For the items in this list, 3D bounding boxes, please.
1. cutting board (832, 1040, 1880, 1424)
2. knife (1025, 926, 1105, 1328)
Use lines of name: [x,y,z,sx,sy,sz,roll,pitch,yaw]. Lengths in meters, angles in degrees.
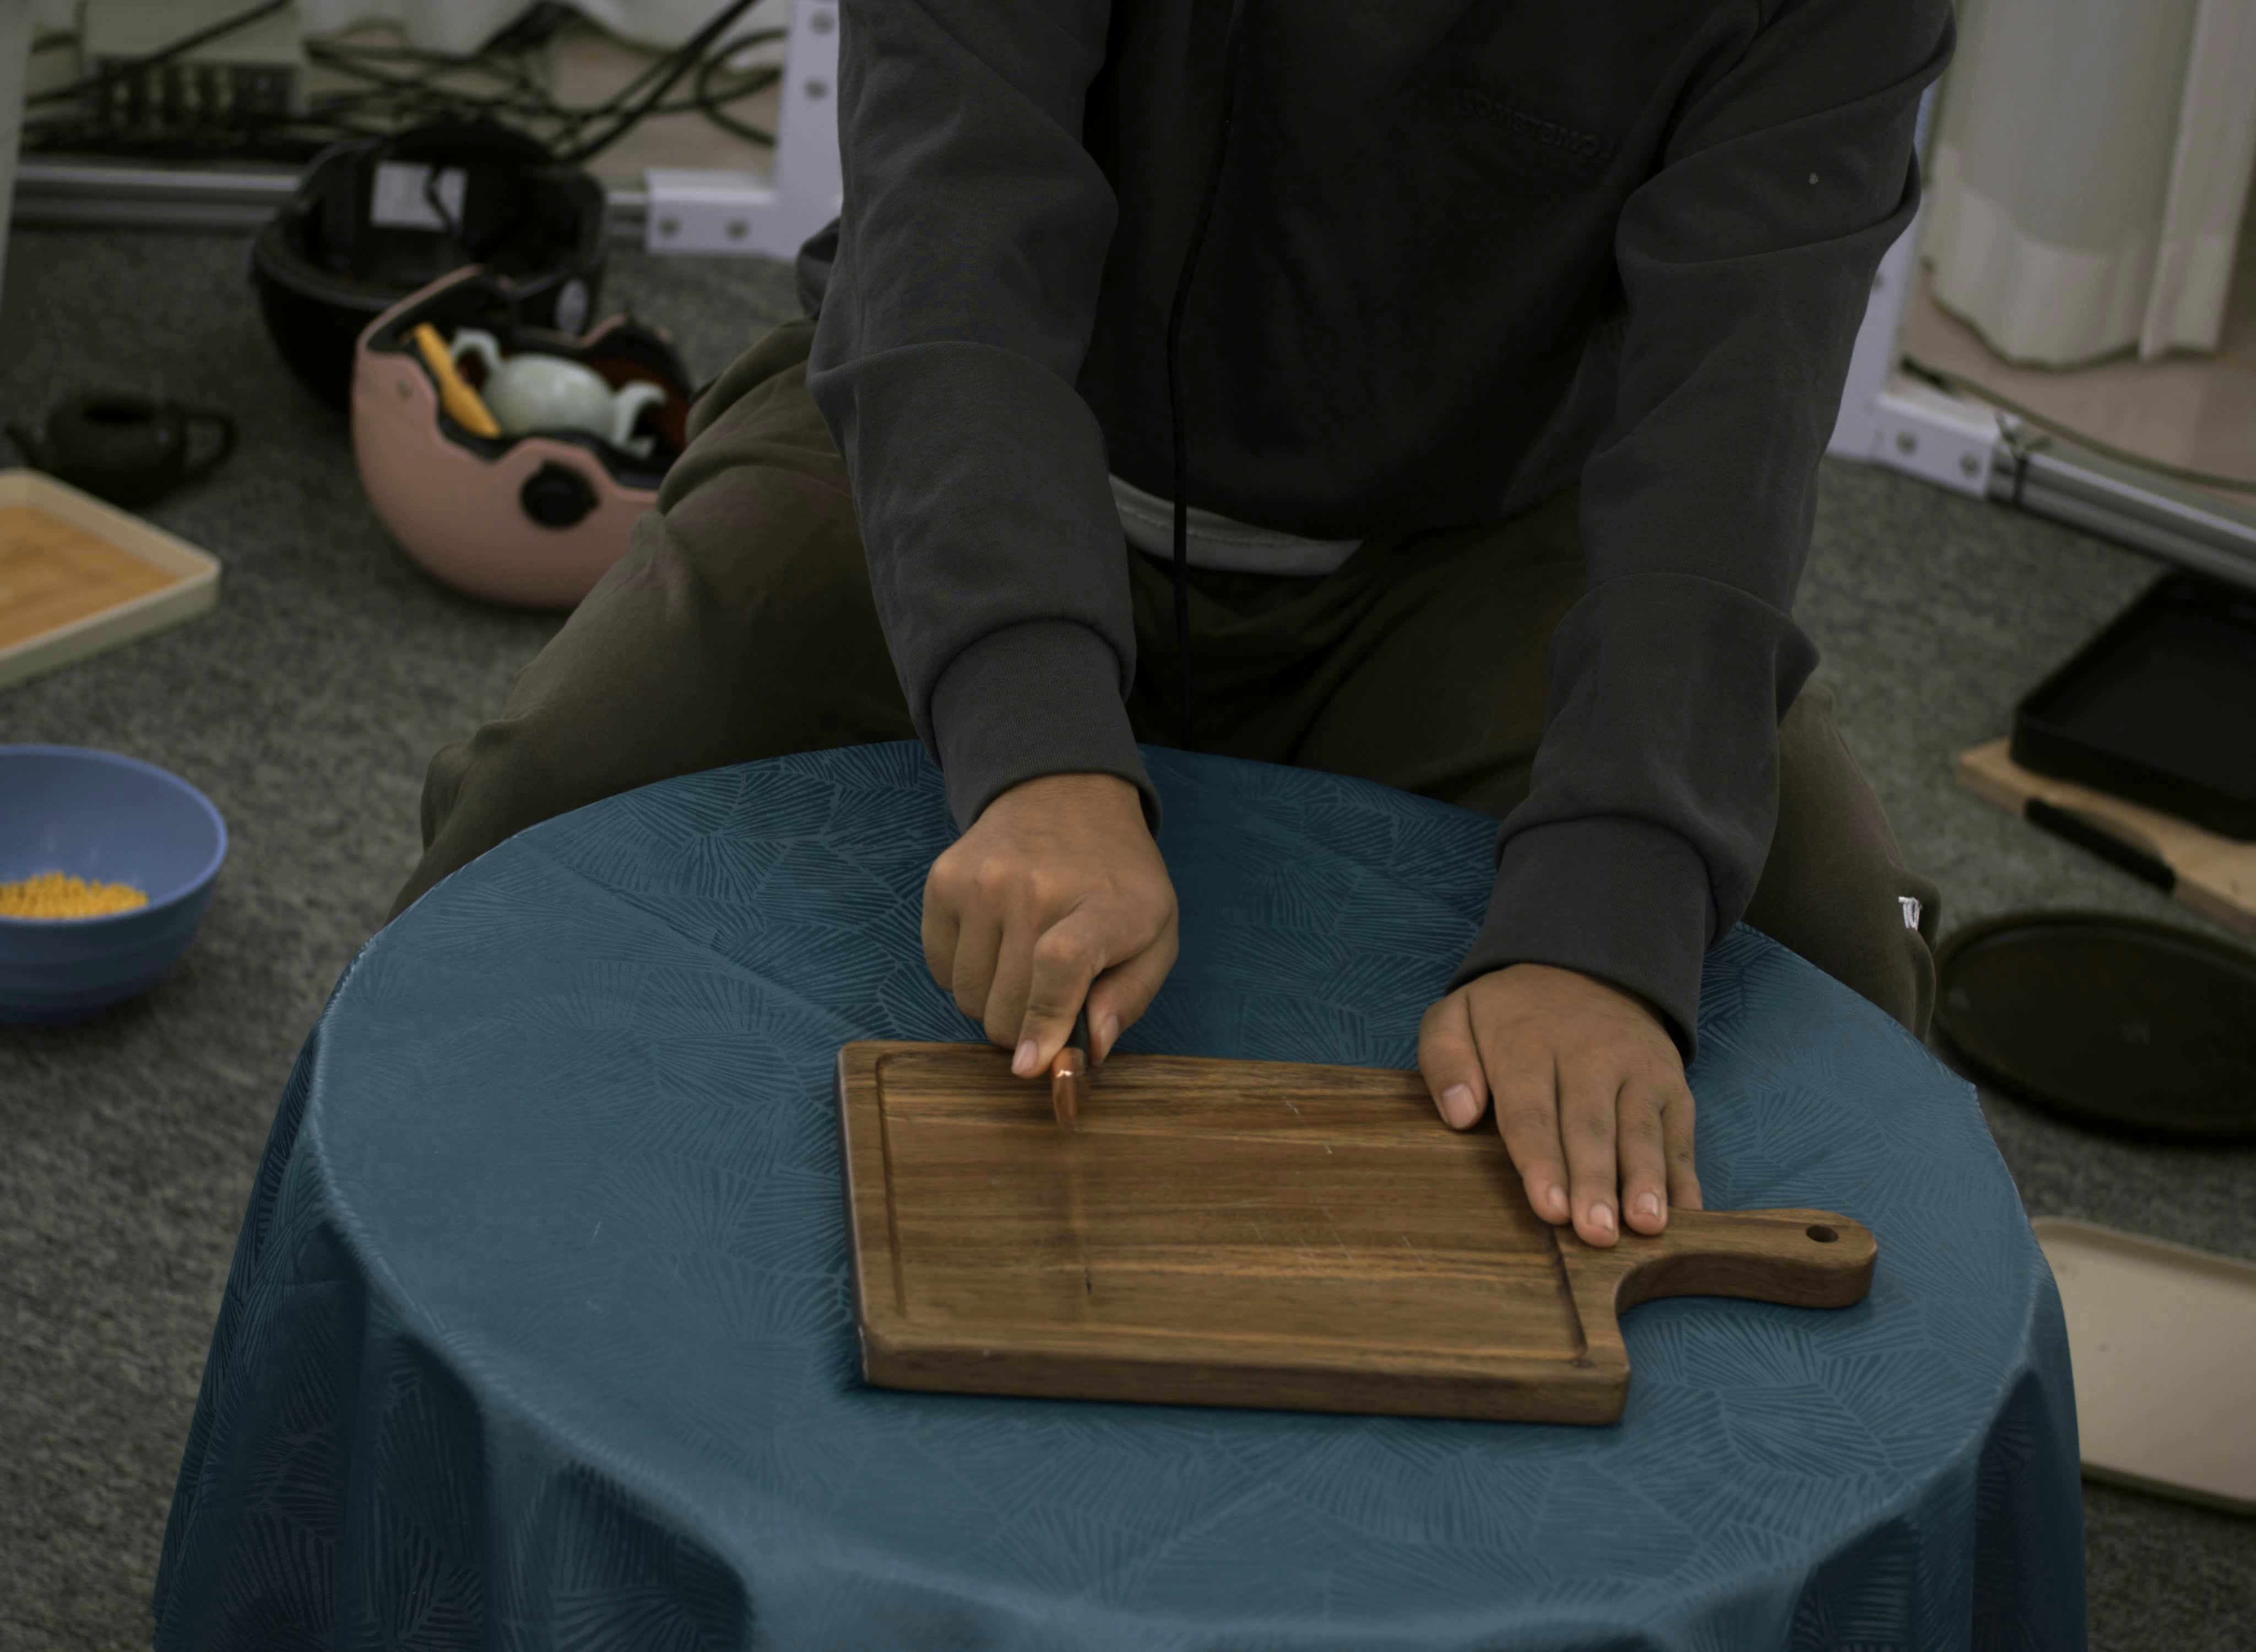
cutting board: [0.080,0.136,1.778,0.350,0.023,0.202,3,27,-7]
knife: [-0.020,0.098,1.790,0.017,0.026,0.227,-5,30,-3]
